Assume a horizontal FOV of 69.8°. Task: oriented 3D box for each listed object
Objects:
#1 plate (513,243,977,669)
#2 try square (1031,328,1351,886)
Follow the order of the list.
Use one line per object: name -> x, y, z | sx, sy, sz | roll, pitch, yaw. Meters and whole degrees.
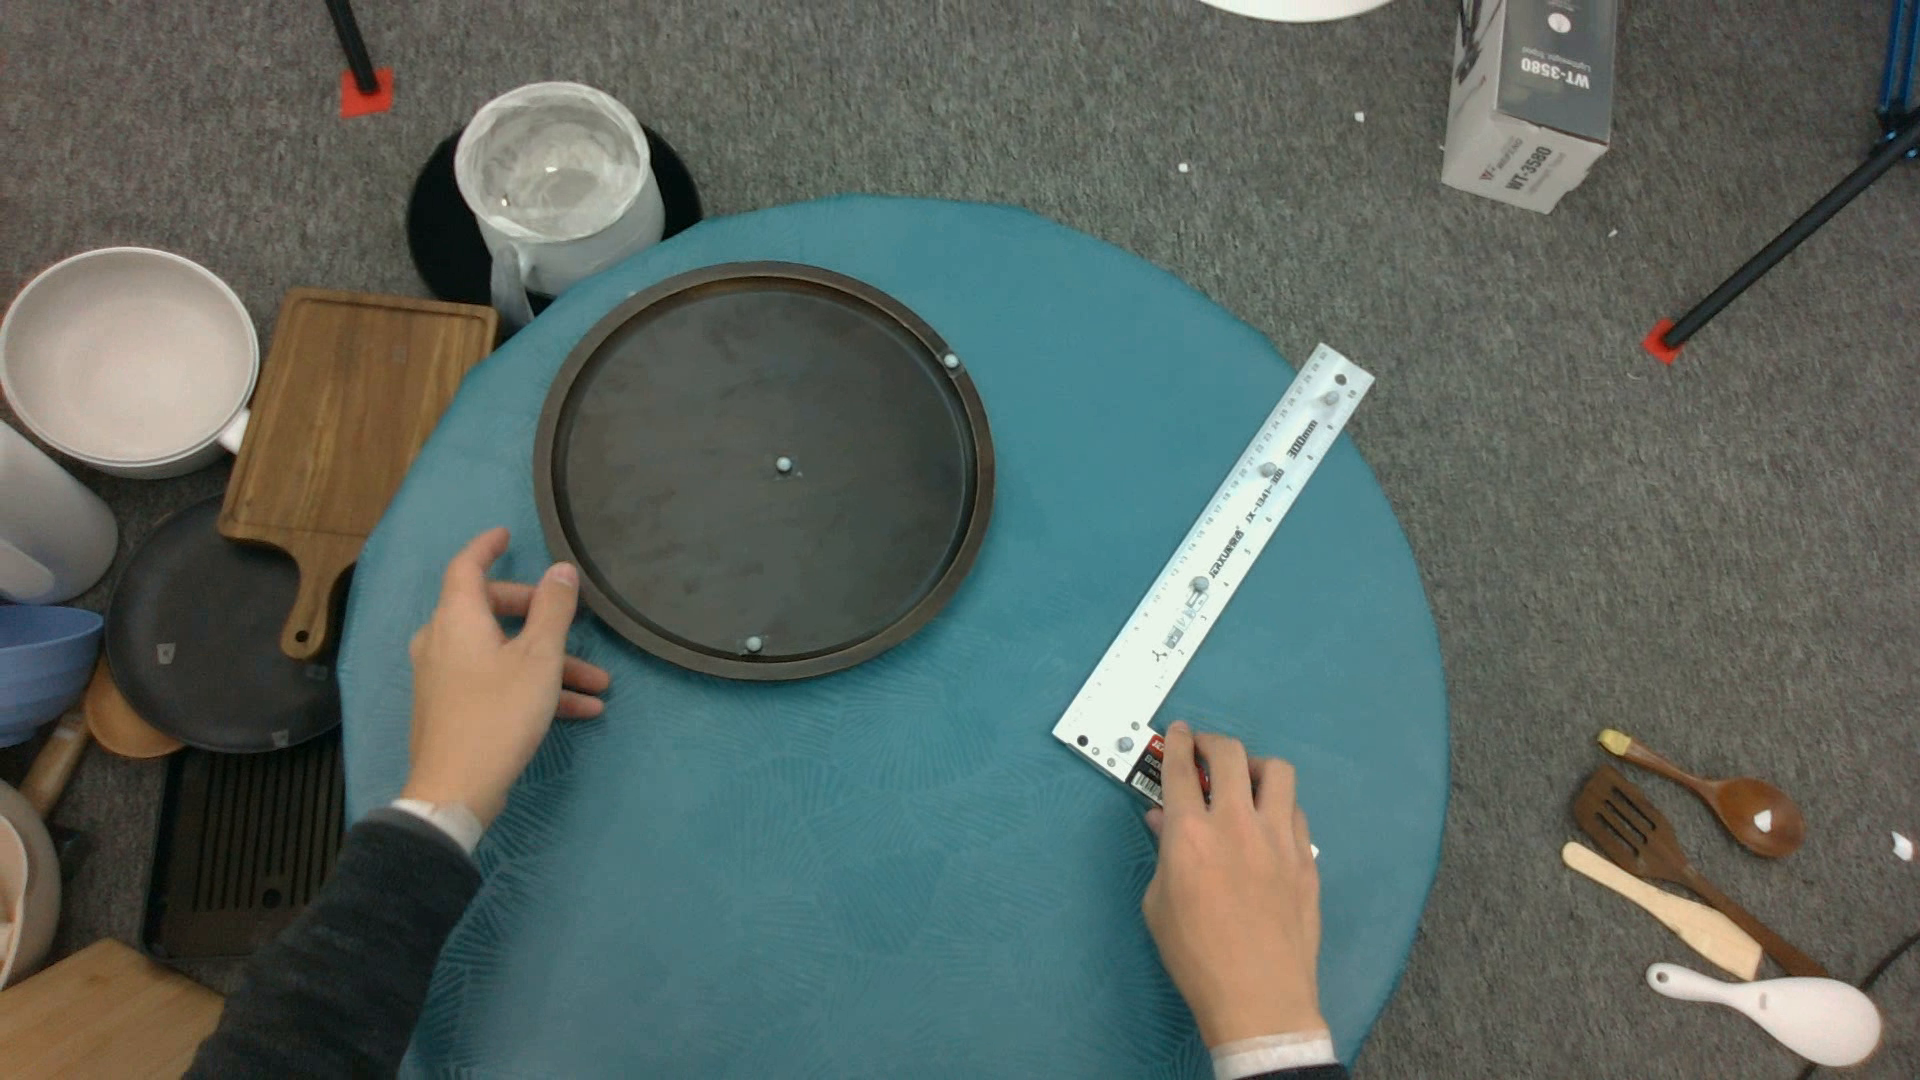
plate -> -0.116, -0.050, 0.765 | 0.255, 0.029, 0.255 | 3, 69, -9
try square -> 0.184, 0.026, 0.791 | 0.152, 0.016, 0.314 | 35, 68, 6
